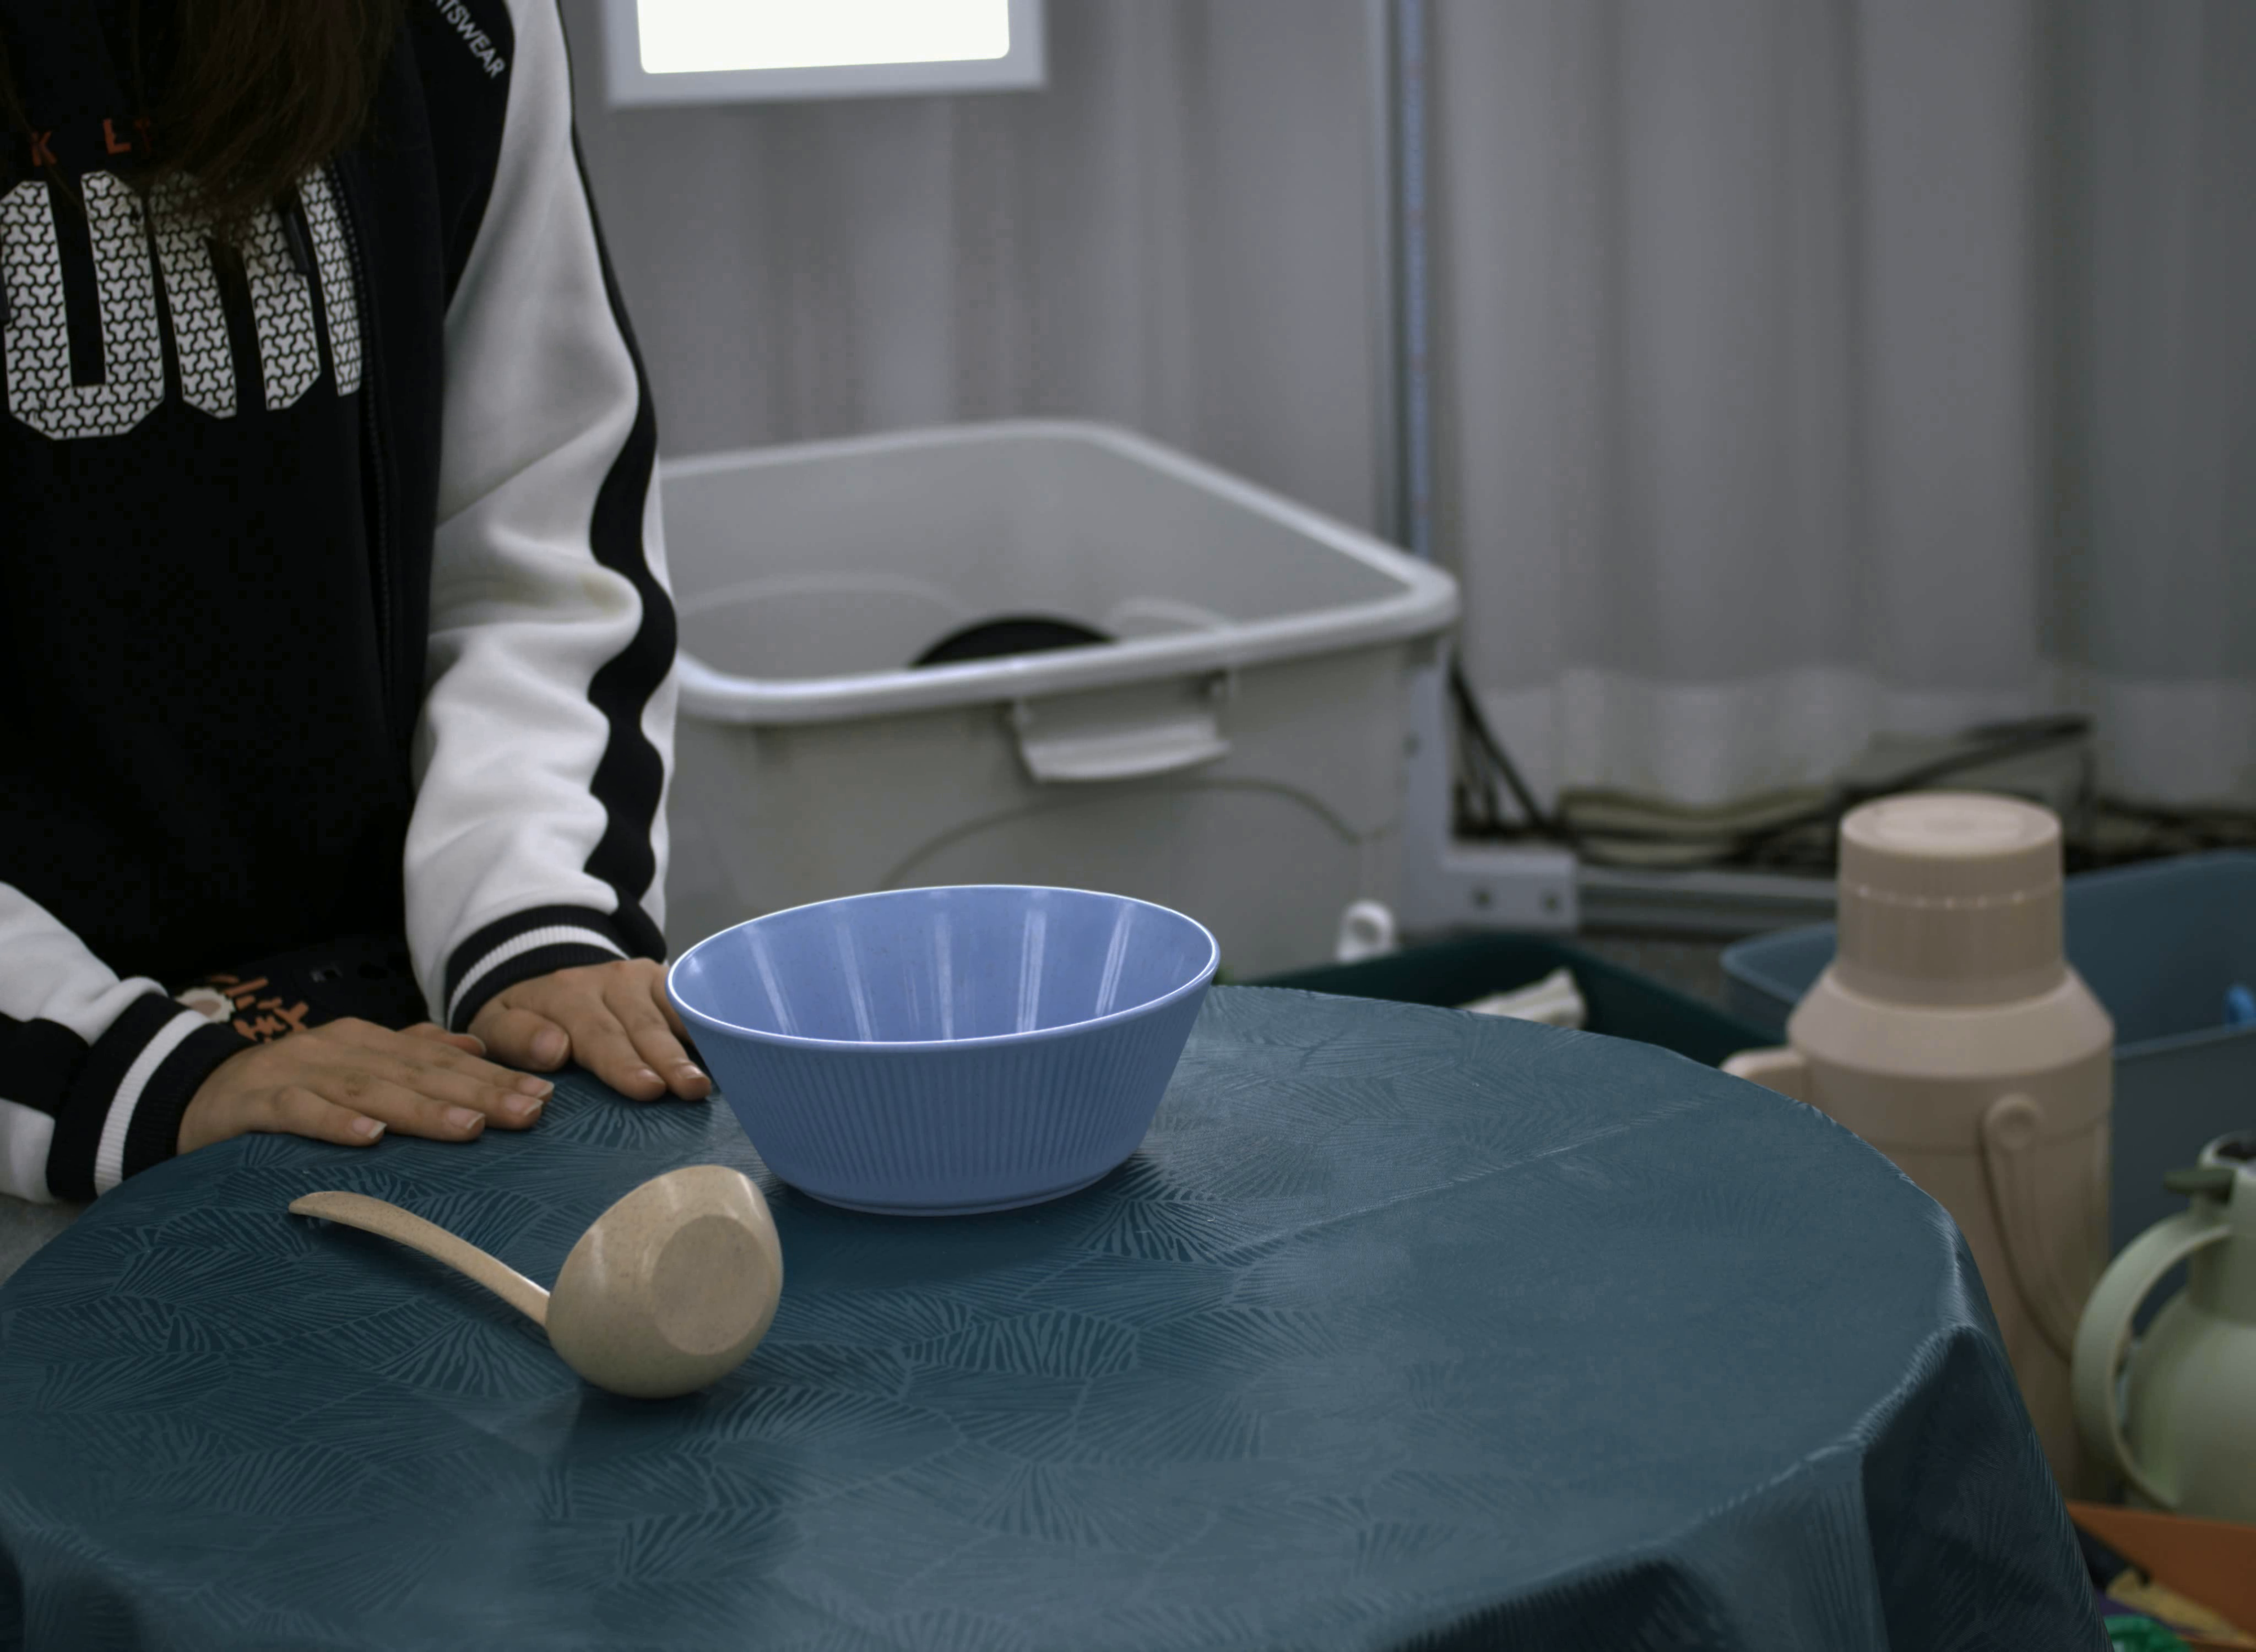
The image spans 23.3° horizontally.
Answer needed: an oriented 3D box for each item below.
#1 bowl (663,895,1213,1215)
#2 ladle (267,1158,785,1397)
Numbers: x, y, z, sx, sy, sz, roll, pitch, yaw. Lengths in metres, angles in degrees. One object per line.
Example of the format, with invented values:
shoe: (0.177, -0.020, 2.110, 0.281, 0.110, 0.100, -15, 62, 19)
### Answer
bowl: (-0.059, 0.075, 1.741, 0.175, 0.070, 0.177, -2, 14, 0)
ladle: (-0.192, 0.110, 1.628, 0.072, 0.072, 0.256, -12, 17, -36)
